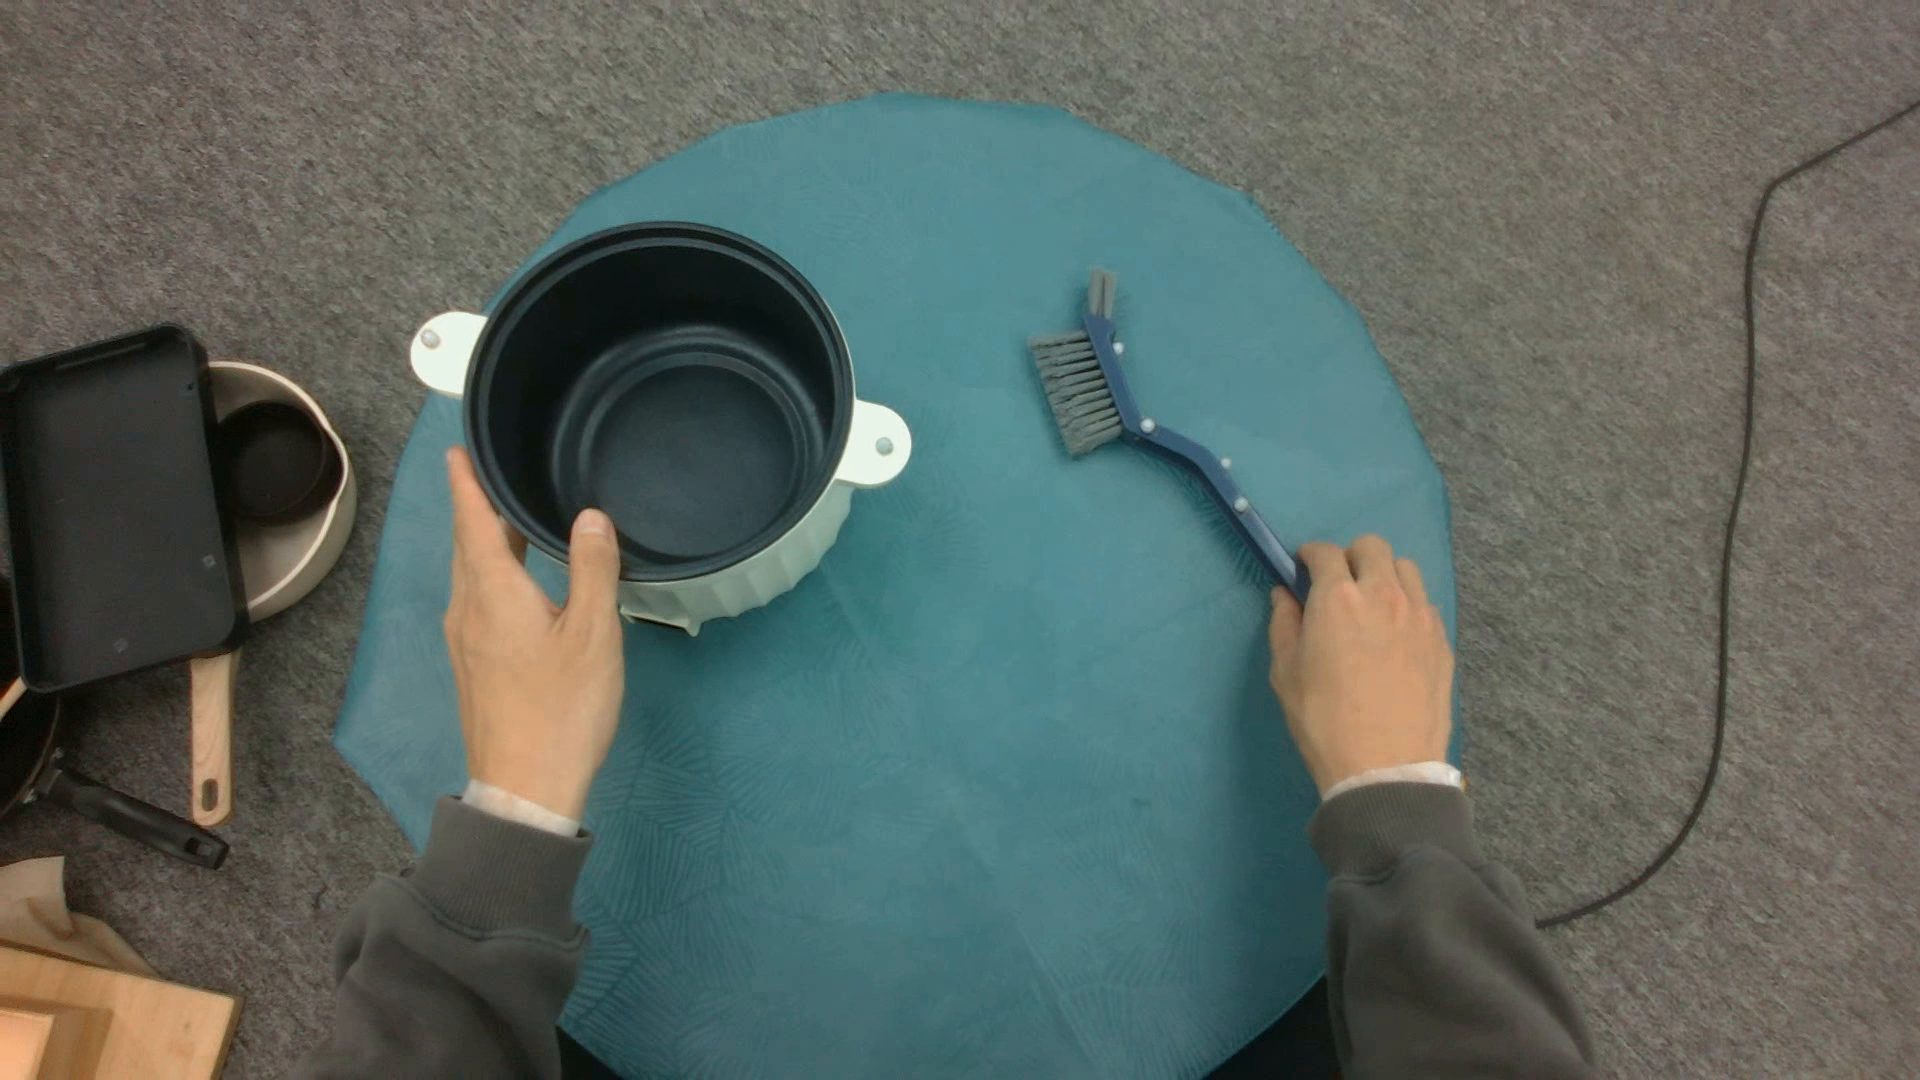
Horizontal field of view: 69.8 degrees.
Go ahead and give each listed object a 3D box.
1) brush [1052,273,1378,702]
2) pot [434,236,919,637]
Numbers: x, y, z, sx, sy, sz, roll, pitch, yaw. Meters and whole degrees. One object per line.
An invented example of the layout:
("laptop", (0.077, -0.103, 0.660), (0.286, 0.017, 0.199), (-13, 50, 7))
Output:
("brush", (0.154, -0.031, 0.779), (0.096, 0.033, 0.273), (-40, 77, -10))
("pot", (-0.138, -0.053, 0.727), (0.240, 0.142, 0.191), (12, 77, 2))
